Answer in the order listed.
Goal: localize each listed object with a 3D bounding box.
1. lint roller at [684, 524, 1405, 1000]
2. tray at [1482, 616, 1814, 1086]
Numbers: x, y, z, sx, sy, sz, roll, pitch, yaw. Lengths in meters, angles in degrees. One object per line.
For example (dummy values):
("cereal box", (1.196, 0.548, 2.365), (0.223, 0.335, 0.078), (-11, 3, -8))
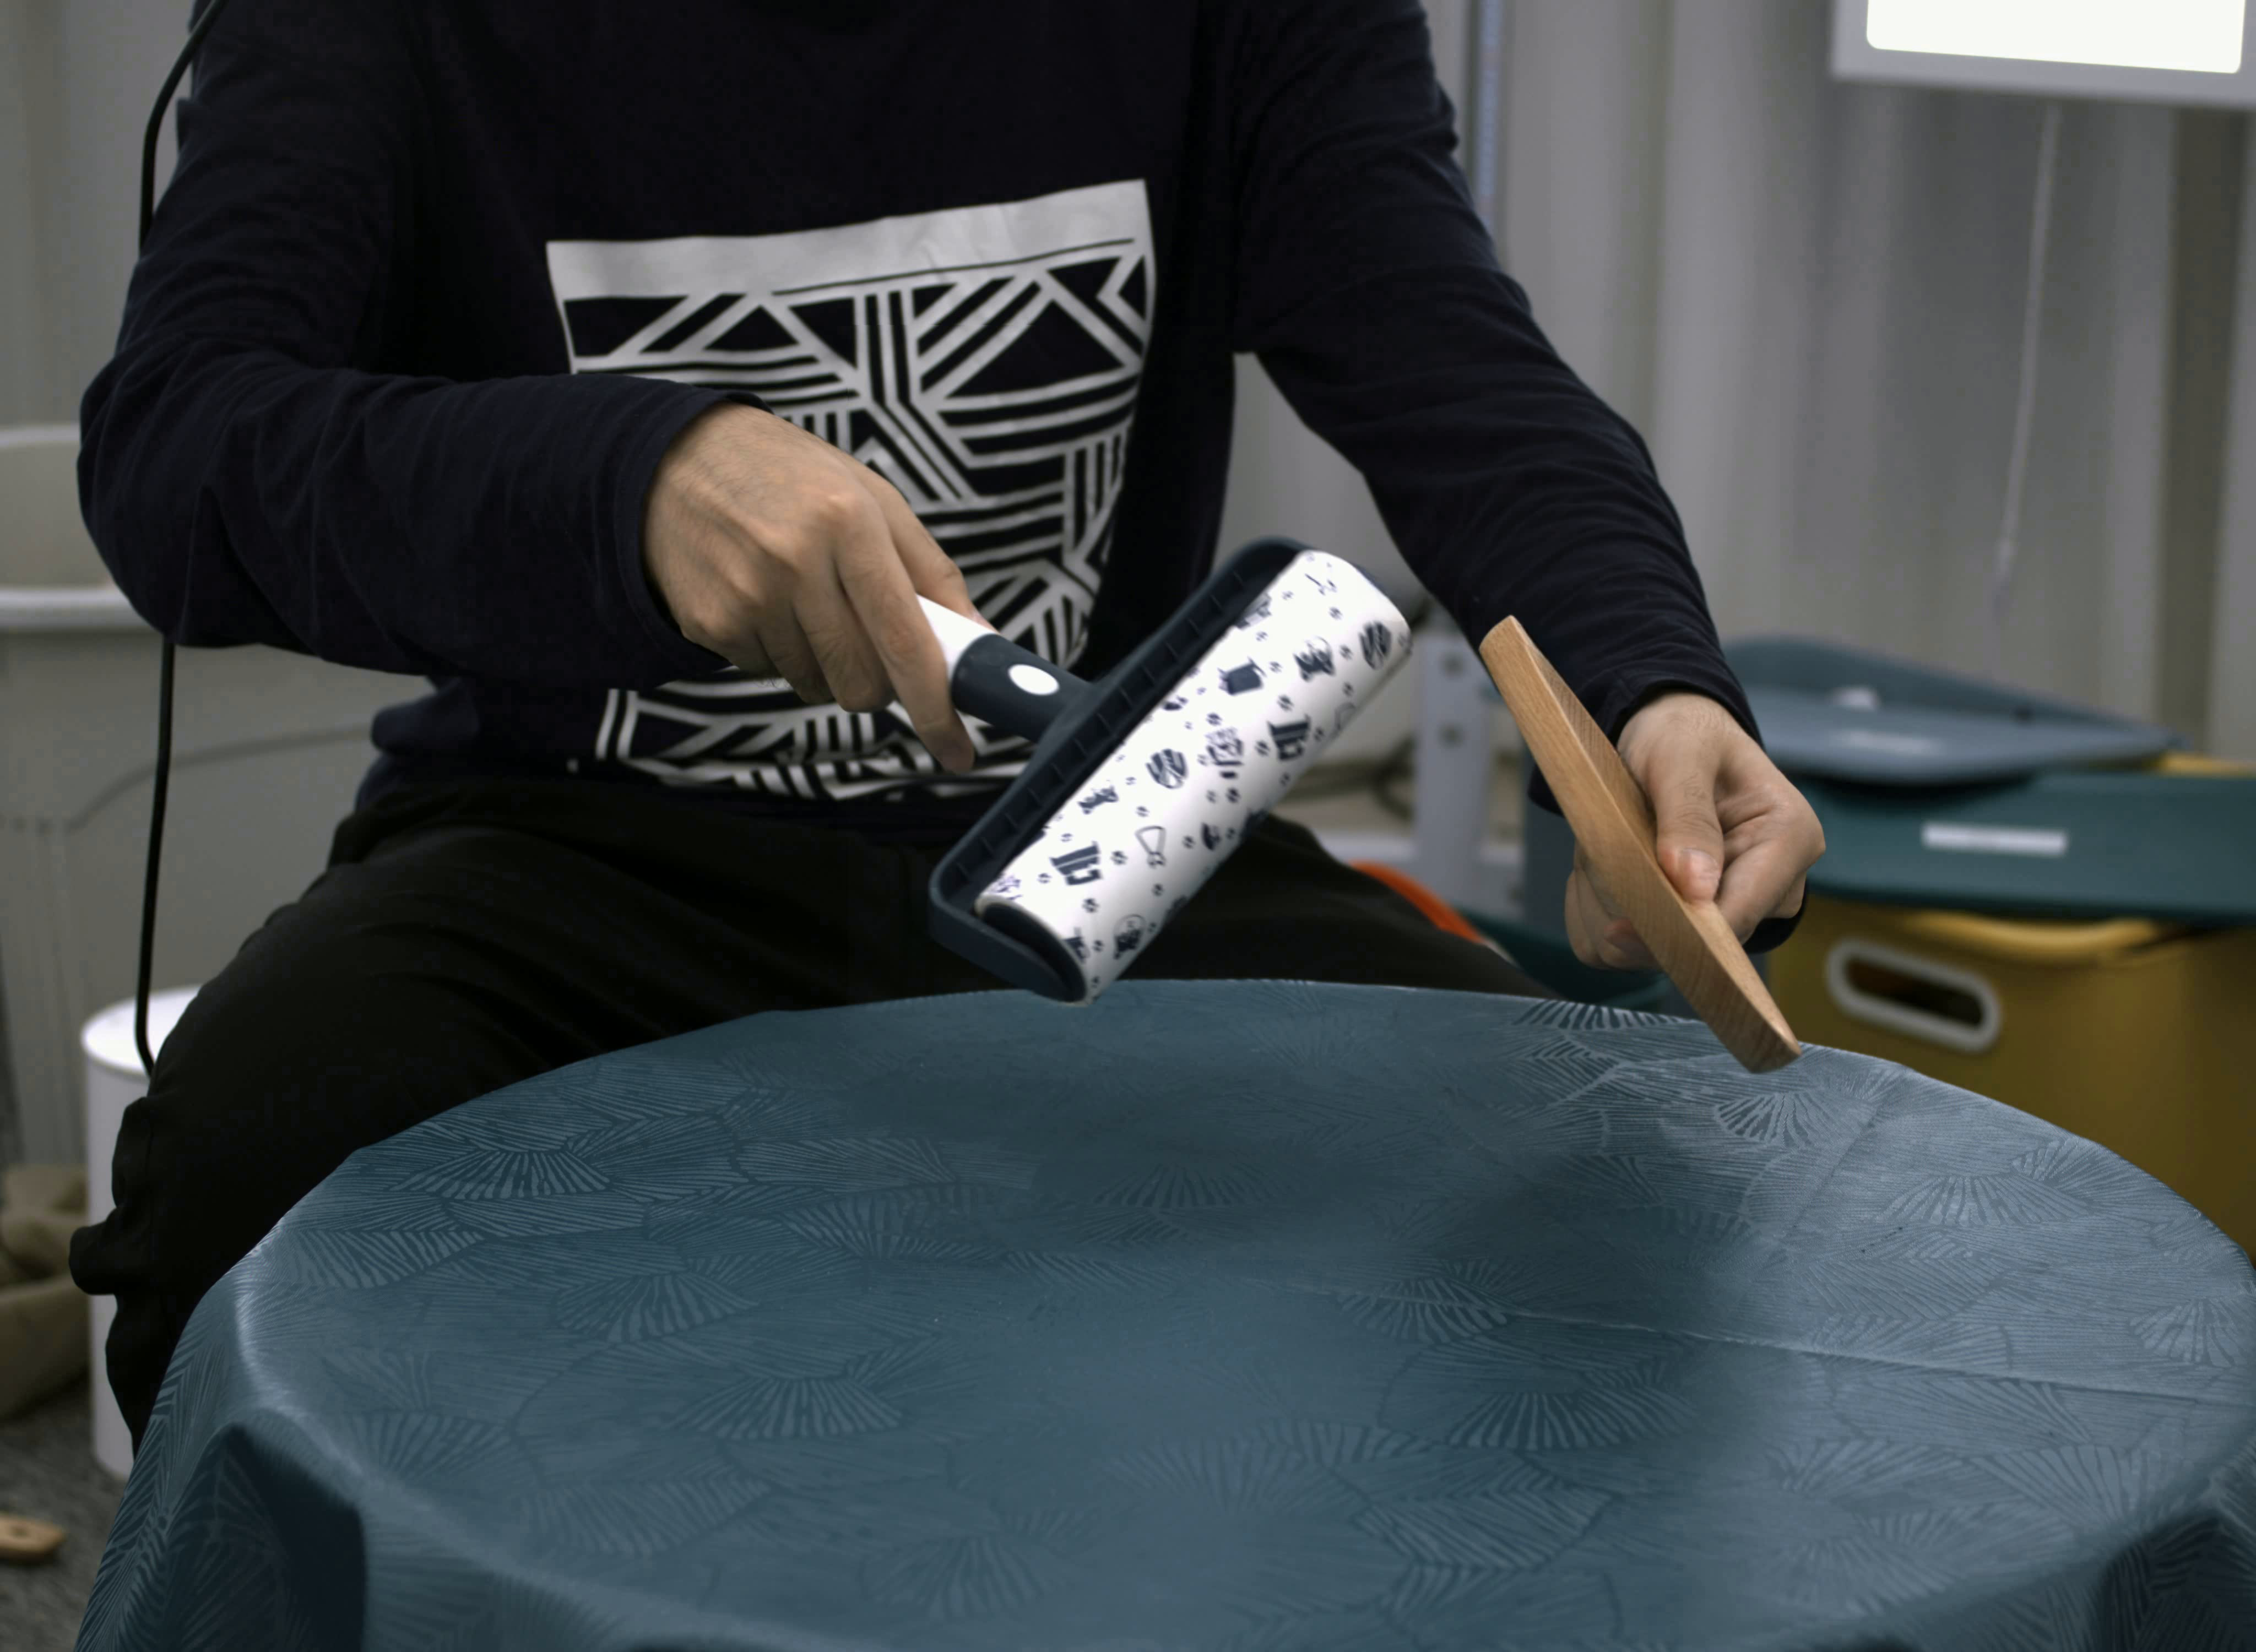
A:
("lint roller", (-0.055, -0.052, 1.675), (0.244, 0.051, 0.176), (25, 61, 32))
("tray", (0.150, 0.006, 1.553), (0.020, 0.103, 0.229), (-36, 23, 9))
